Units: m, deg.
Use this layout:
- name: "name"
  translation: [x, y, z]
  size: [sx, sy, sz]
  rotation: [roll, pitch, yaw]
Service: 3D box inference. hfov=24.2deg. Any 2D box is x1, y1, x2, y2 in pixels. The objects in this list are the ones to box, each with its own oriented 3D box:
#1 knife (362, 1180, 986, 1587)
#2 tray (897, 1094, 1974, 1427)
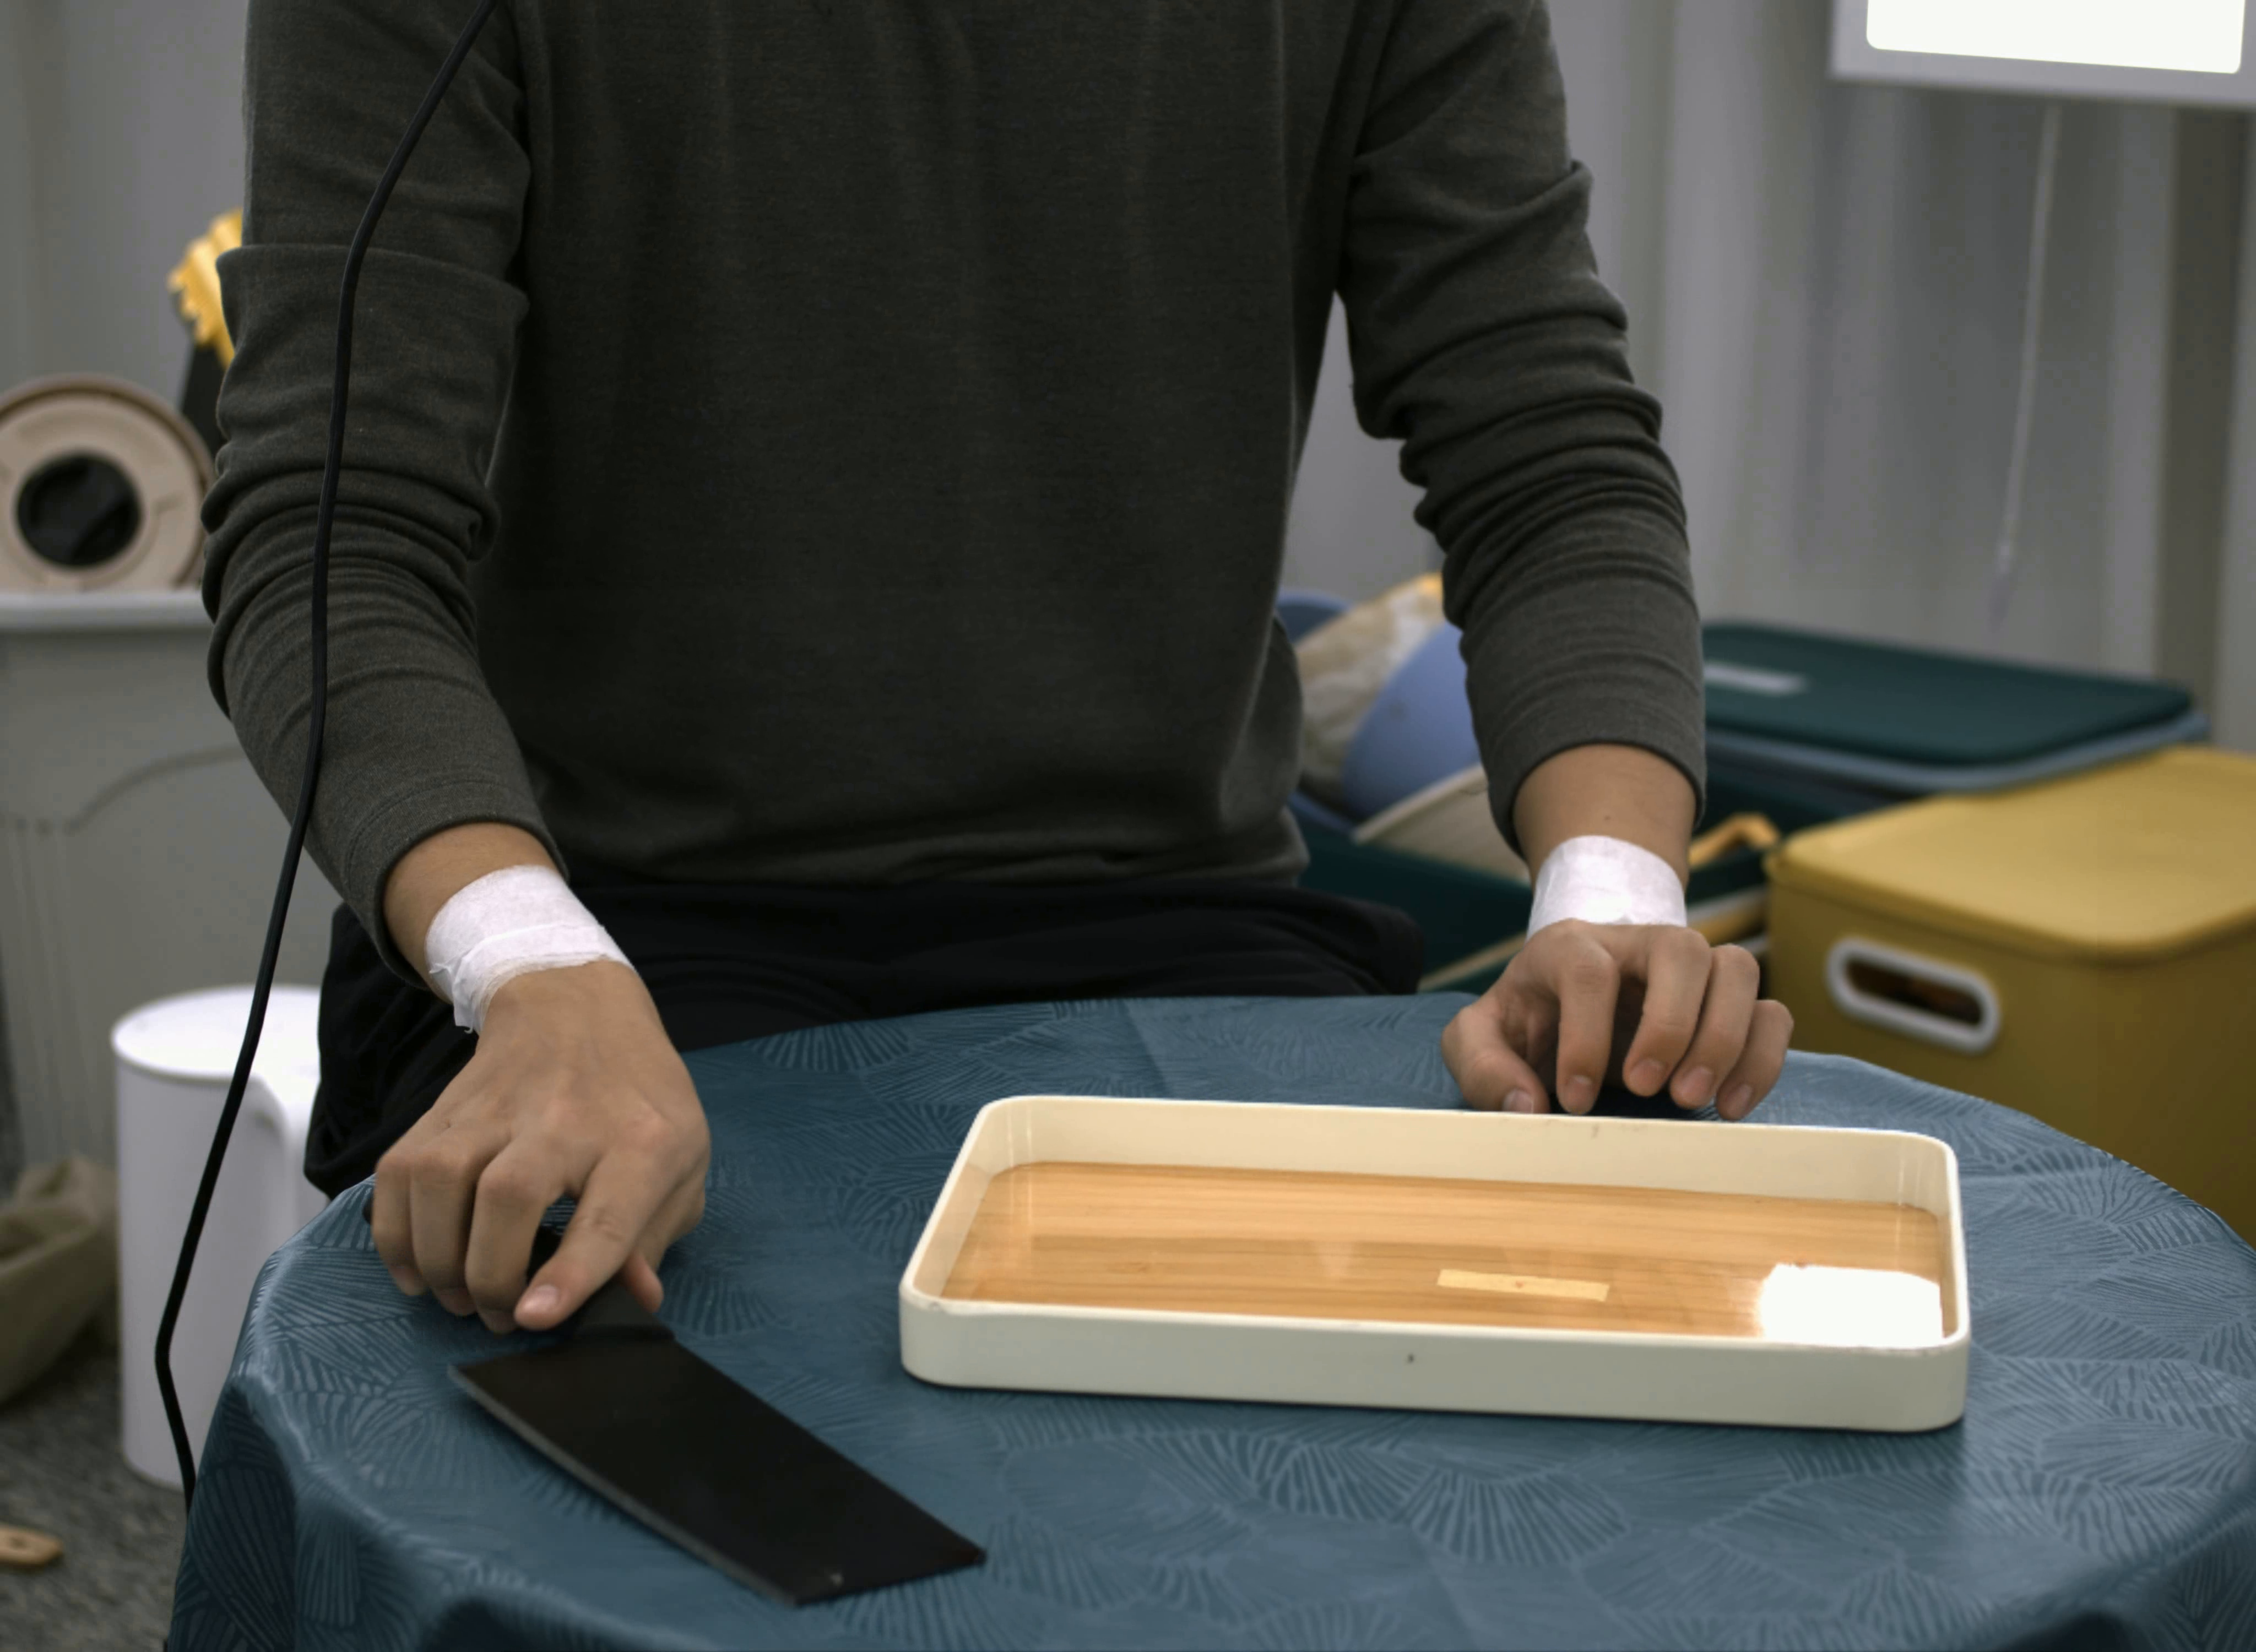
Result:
- name: "knife"
  translation: [-0.141, 0.151, 1.445]
  size: [0.081, 0.021, 0.298]
  rotation: [-2, 16, -31]
- name: "tray"
  translation: [0.093, 0.124, 1.534]
  size: [0.299, 0.027, 0.191]
  rotation: [2, 15, 6]
